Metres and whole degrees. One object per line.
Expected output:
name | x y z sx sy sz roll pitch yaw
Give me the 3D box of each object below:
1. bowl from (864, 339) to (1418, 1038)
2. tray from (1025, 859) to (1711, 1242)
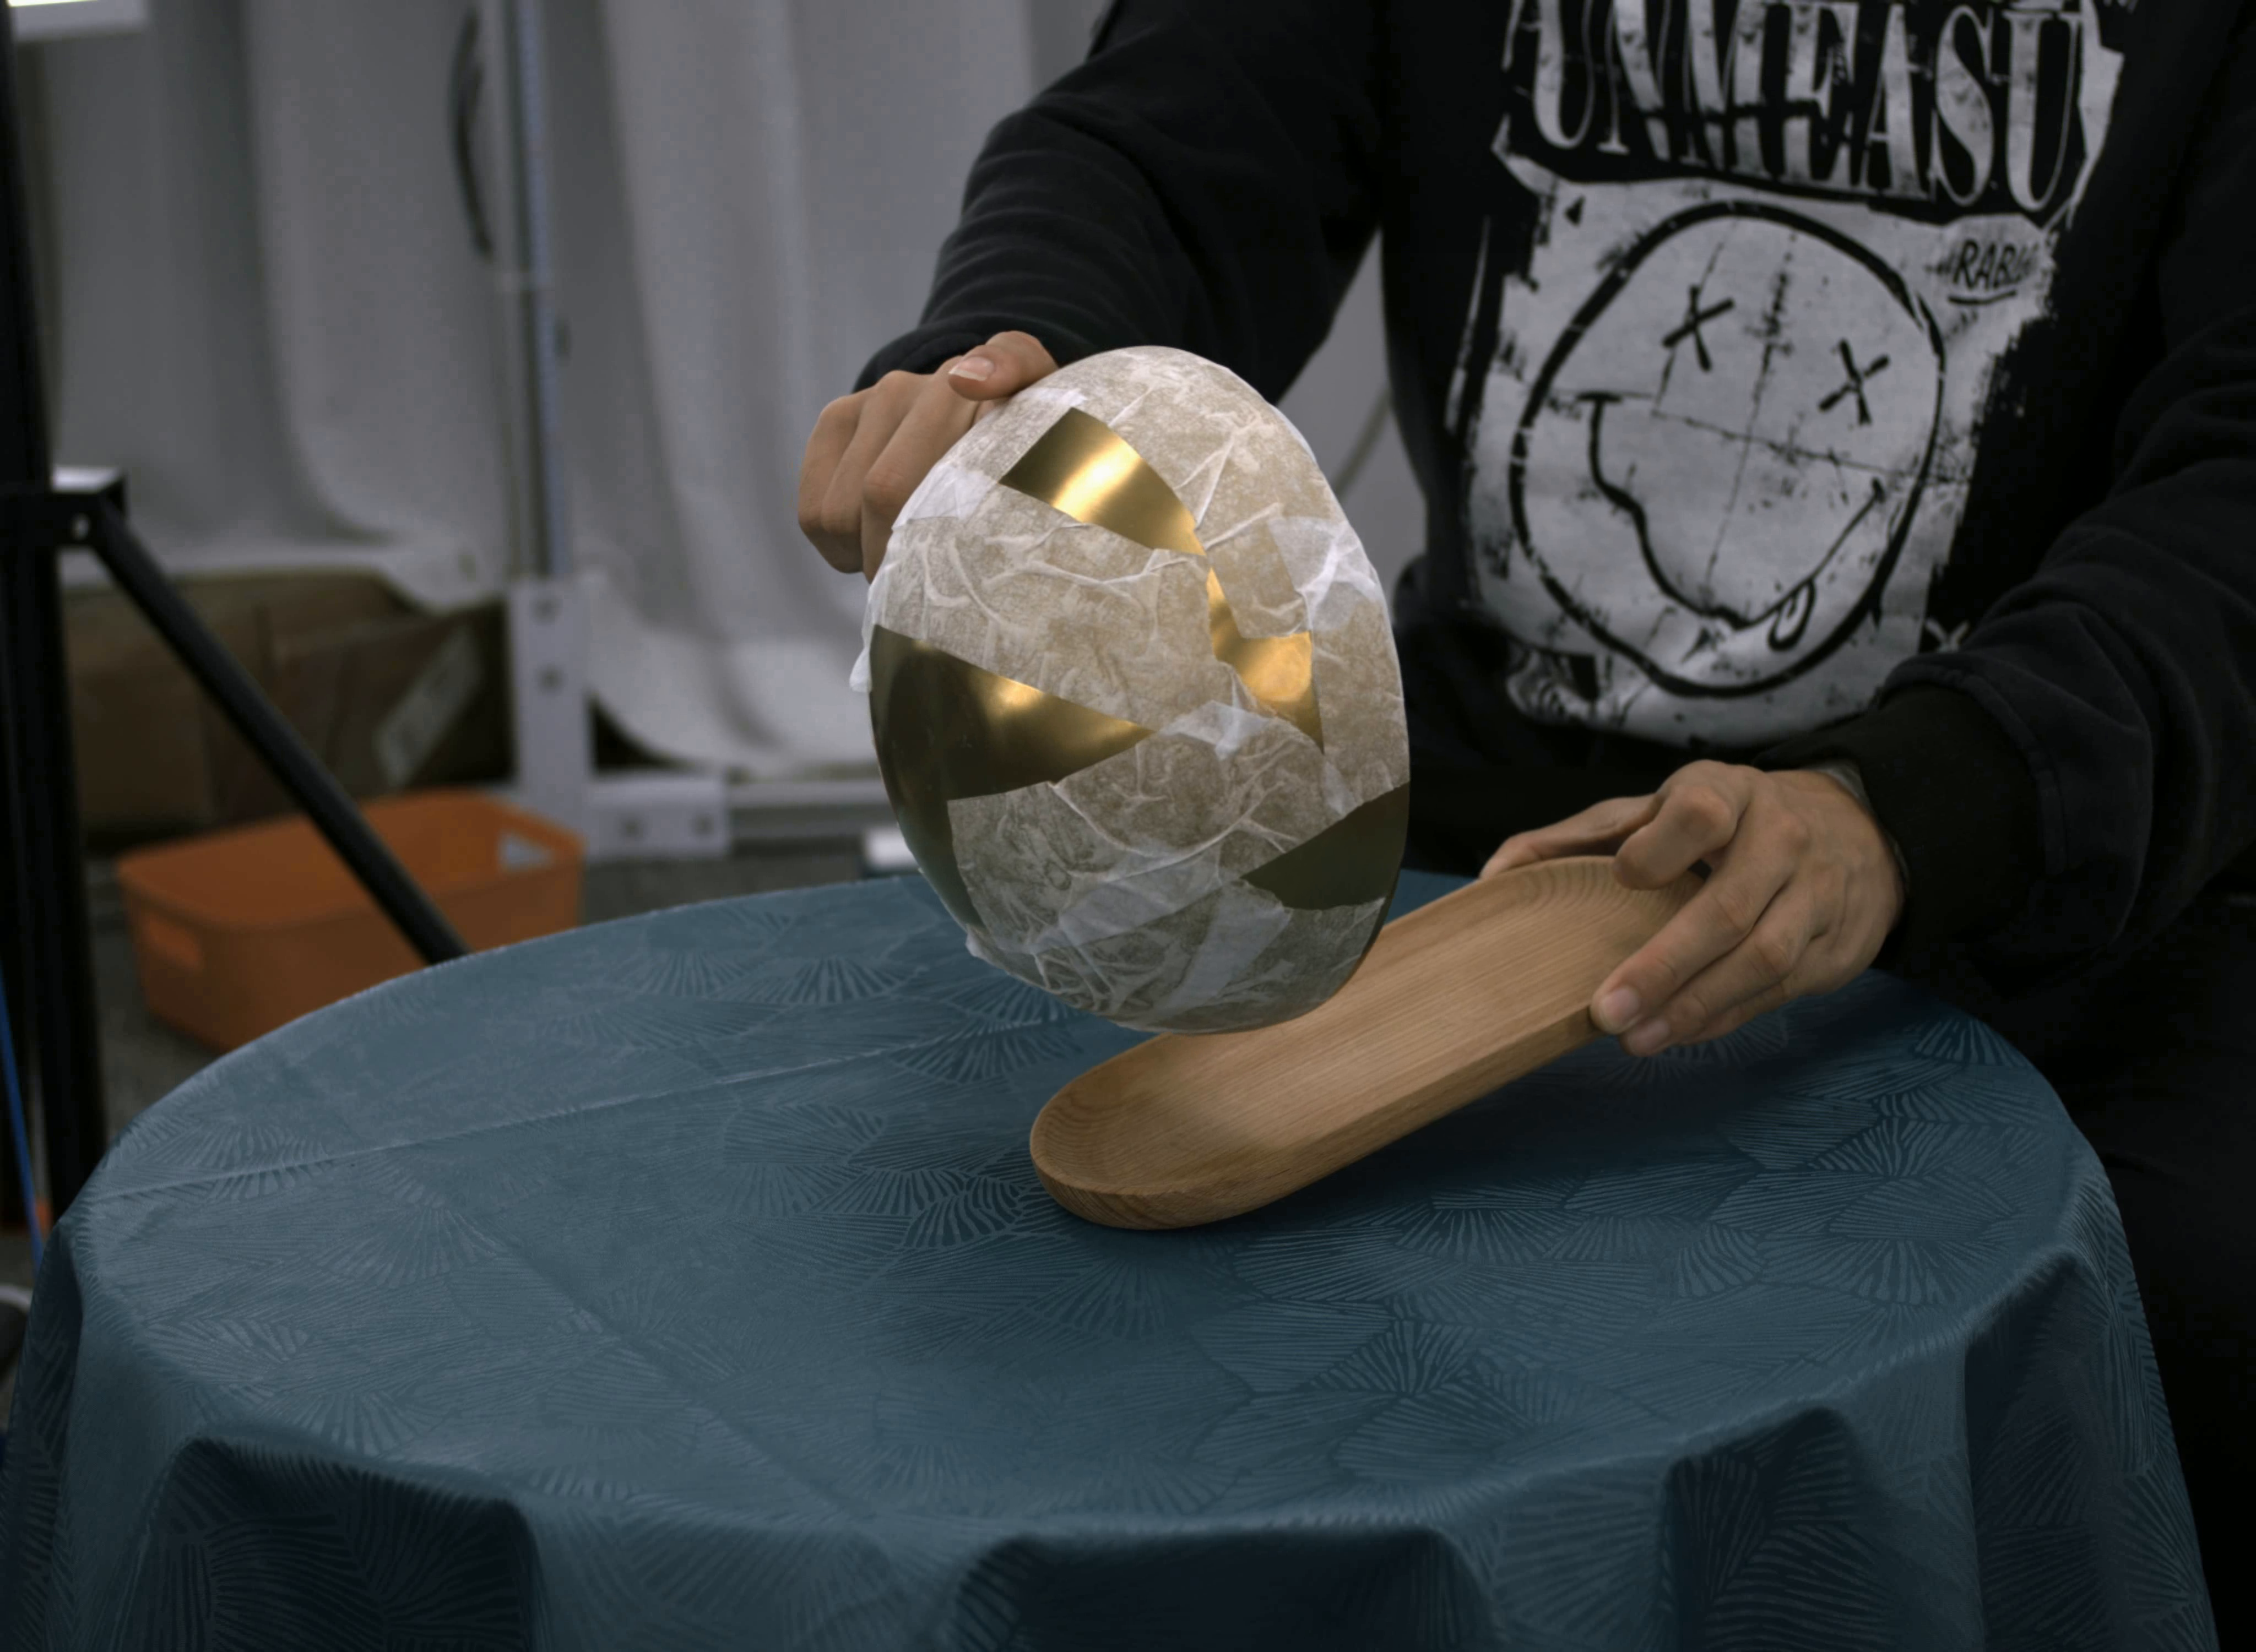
bowl | -0.014 -0.027 1.516 0.092 0.214 0.219 -15 20 -31
tray | 0.074 0.066 1.579 0.228 0.020 0.104 -27 24 -22
